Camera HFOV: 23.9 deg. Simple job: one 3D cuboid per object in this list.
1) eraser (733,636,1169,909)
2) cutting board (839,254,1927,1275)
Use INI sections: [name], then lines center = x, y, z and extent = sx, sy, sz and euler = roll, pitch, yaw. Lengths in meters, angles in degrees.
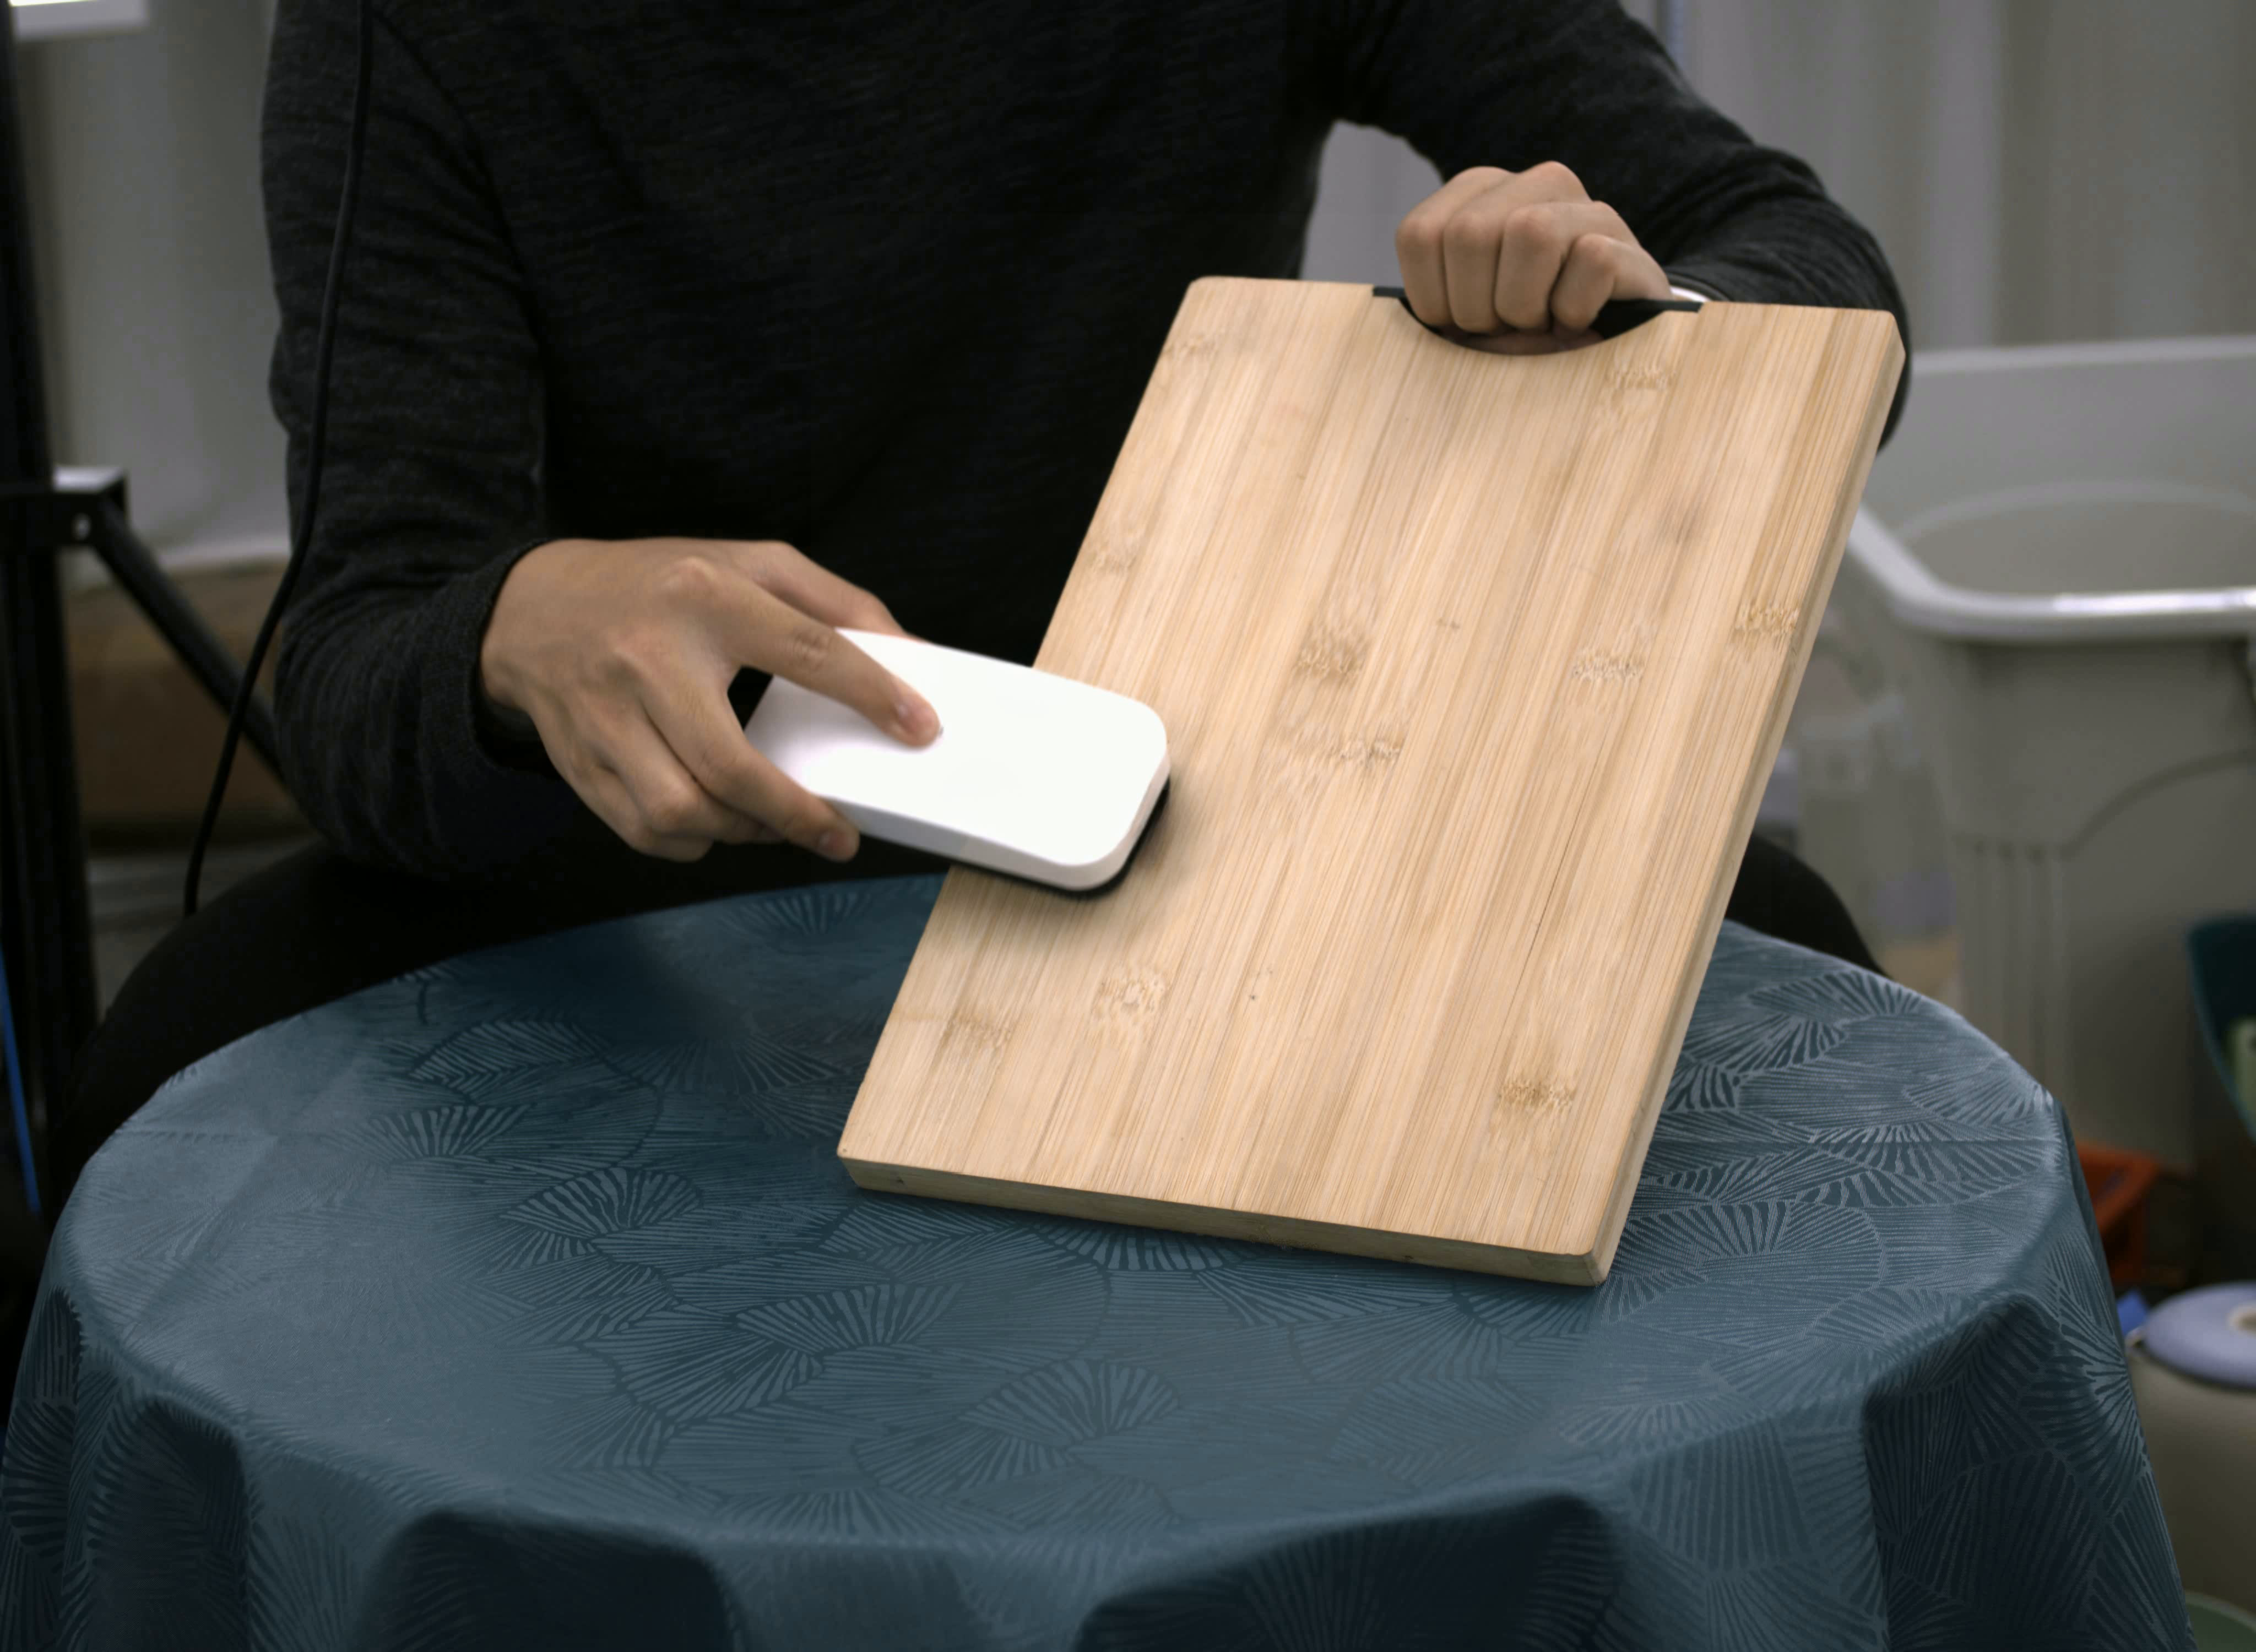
[eraser]
center = -0.052, -0.019, 1.608
extent = 0.133, 0.034, 0.063
euler = 16, 60, 25
[cutting board]
center = 0.079, -0.029, 1.597
extent = 0.255, 0.023, 0.349
euler = 5, 57, 27
